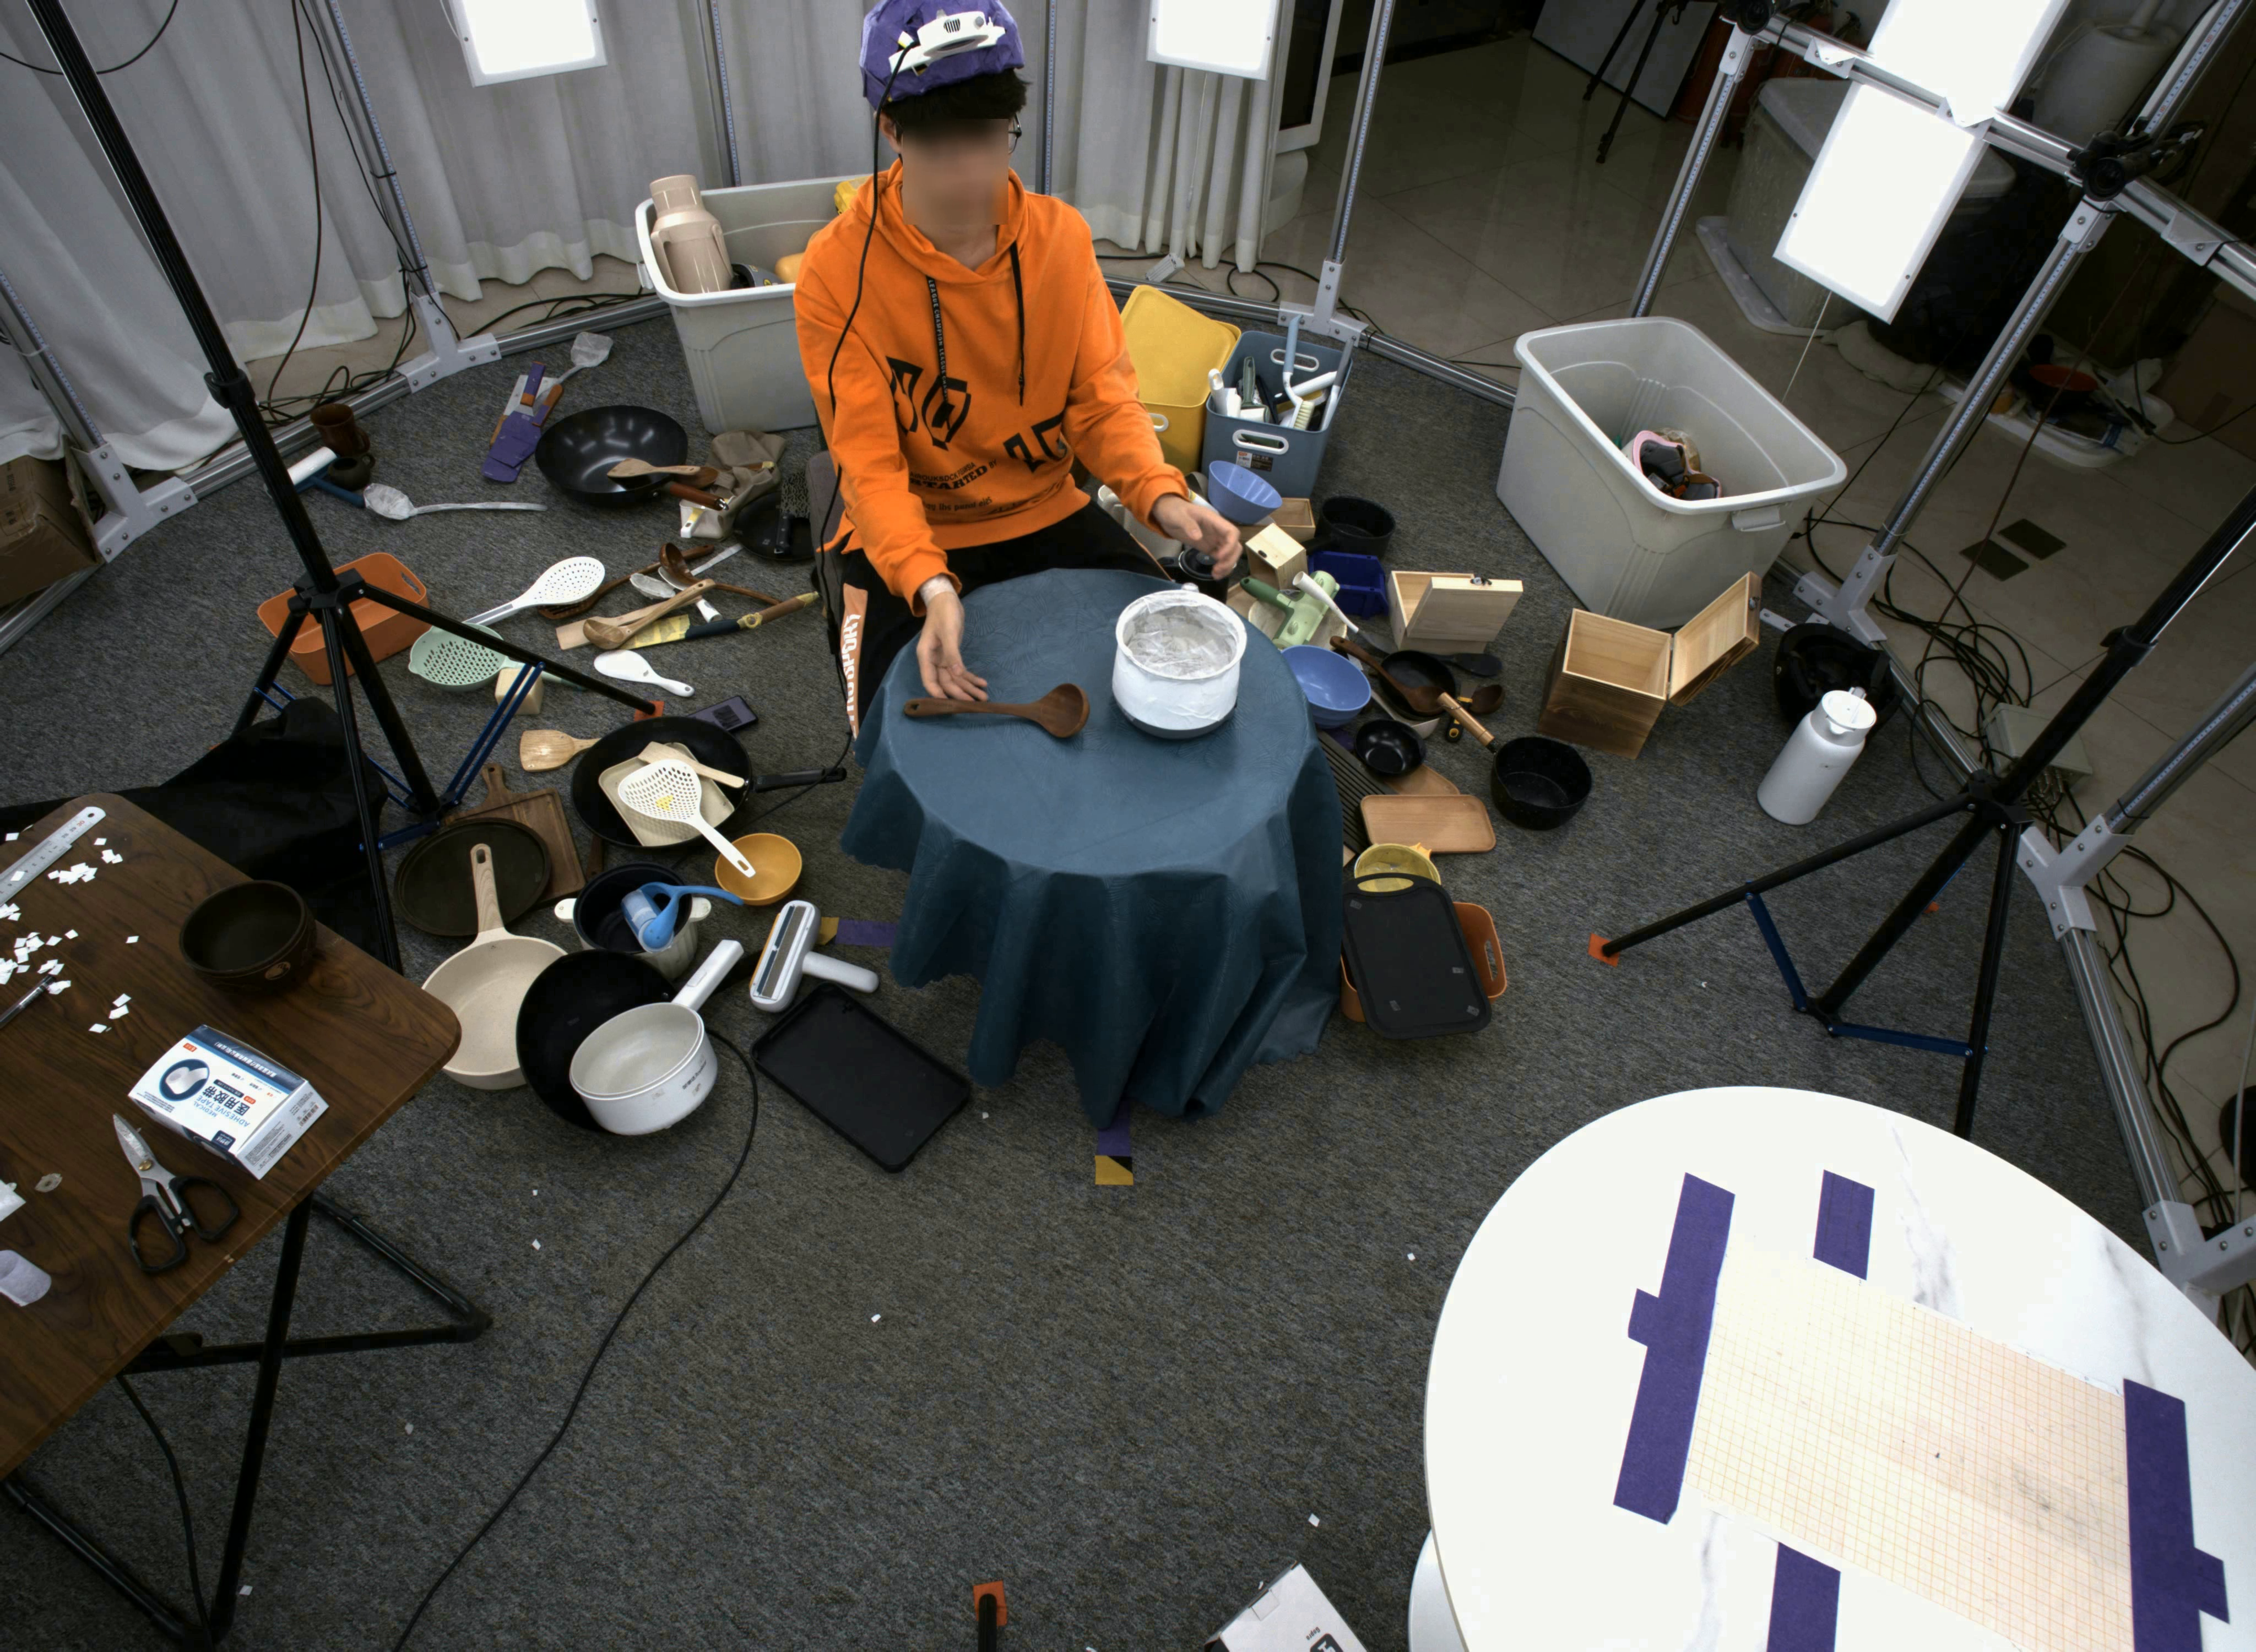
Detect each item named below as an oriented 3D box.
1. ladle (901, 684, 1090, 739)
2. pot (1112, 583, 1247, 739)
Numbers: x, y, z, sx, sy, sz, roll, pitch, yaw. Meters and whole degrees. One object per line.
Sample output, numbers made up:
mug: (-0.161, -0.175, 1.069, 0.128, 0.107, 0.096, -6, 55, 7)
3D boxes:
ladle: (-0.181, -0.163, 1.759, 0.260, 0.064, 0.077, 3, 74, -2)
pot: (0.071, -0.240, 1.794, 0.179, 0.133, 0.239, 8, 49, 2)
